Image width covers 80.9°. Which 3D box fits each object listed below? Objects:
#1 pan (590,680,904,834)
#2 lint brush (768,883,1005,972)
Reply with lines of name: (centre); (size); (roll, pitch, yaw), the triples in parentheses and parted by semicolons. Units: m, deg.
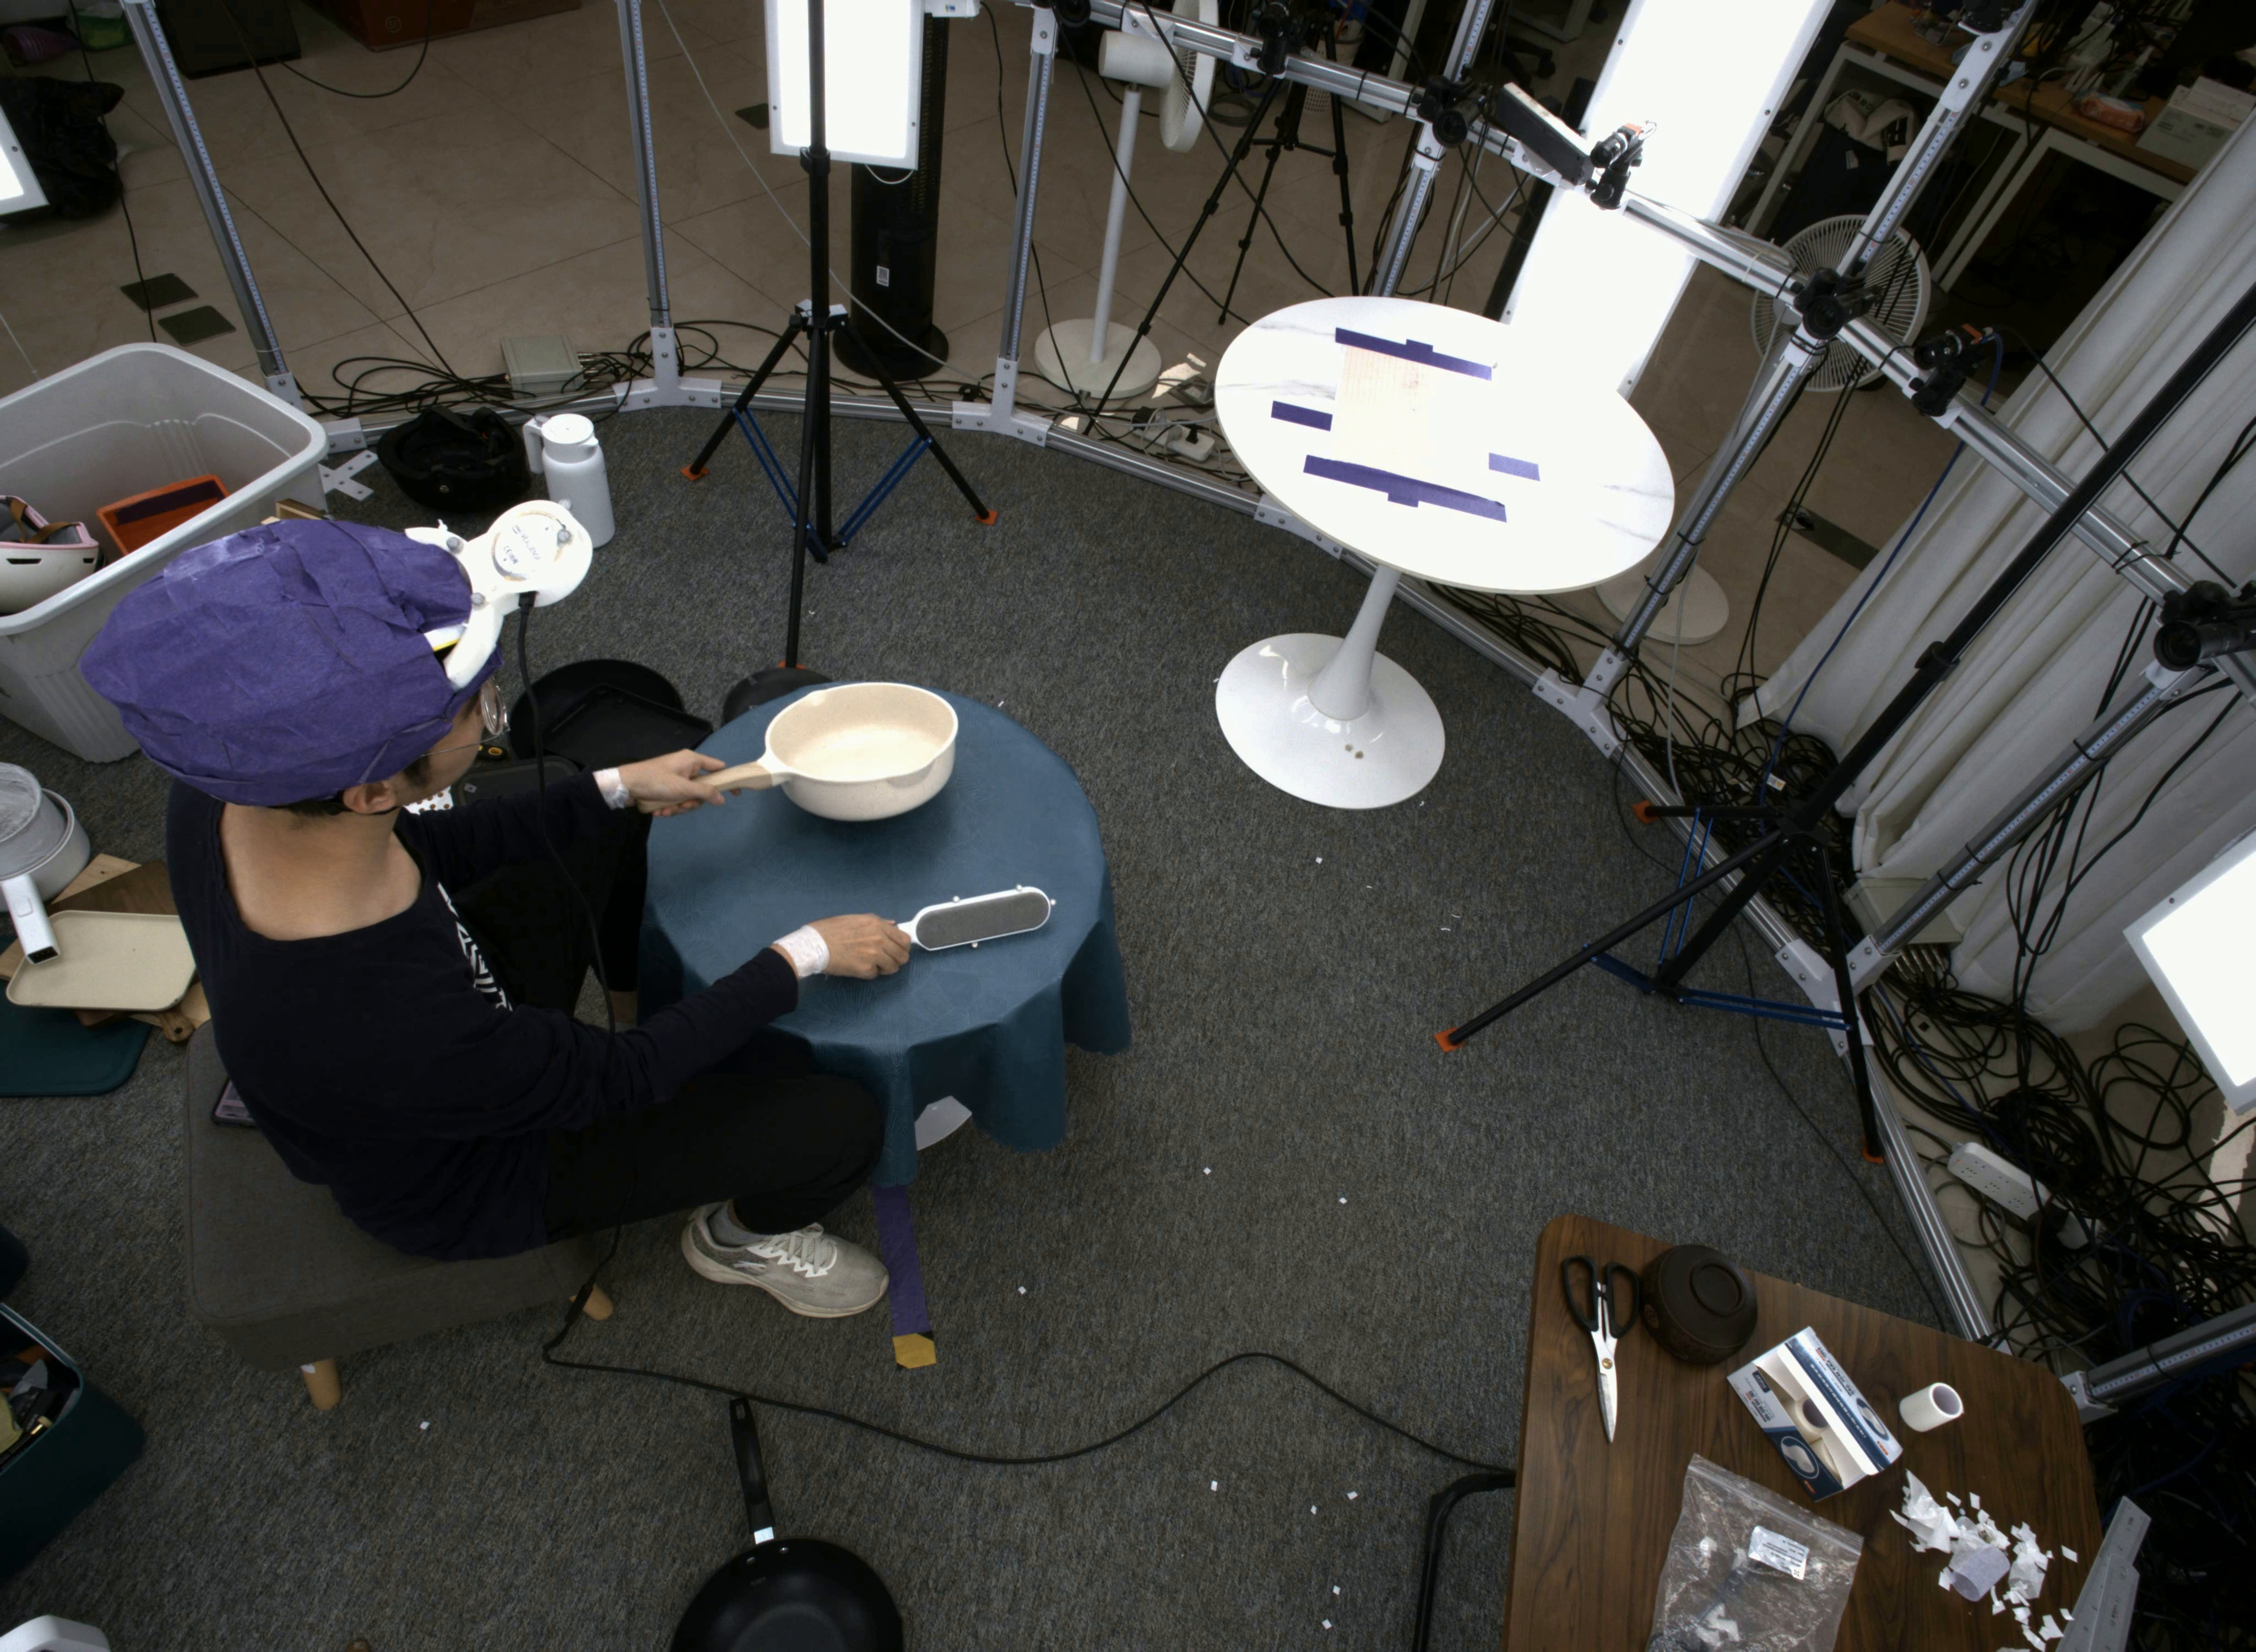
pan: (-0.485, -0.060, 1.662); (0.437, 0.105, 0.254); (-30, 49, -34)
lint brush: (-0.298, 0.128, 1.633); (0.310, 0.062, 0.020); (-14, 20, -23)
